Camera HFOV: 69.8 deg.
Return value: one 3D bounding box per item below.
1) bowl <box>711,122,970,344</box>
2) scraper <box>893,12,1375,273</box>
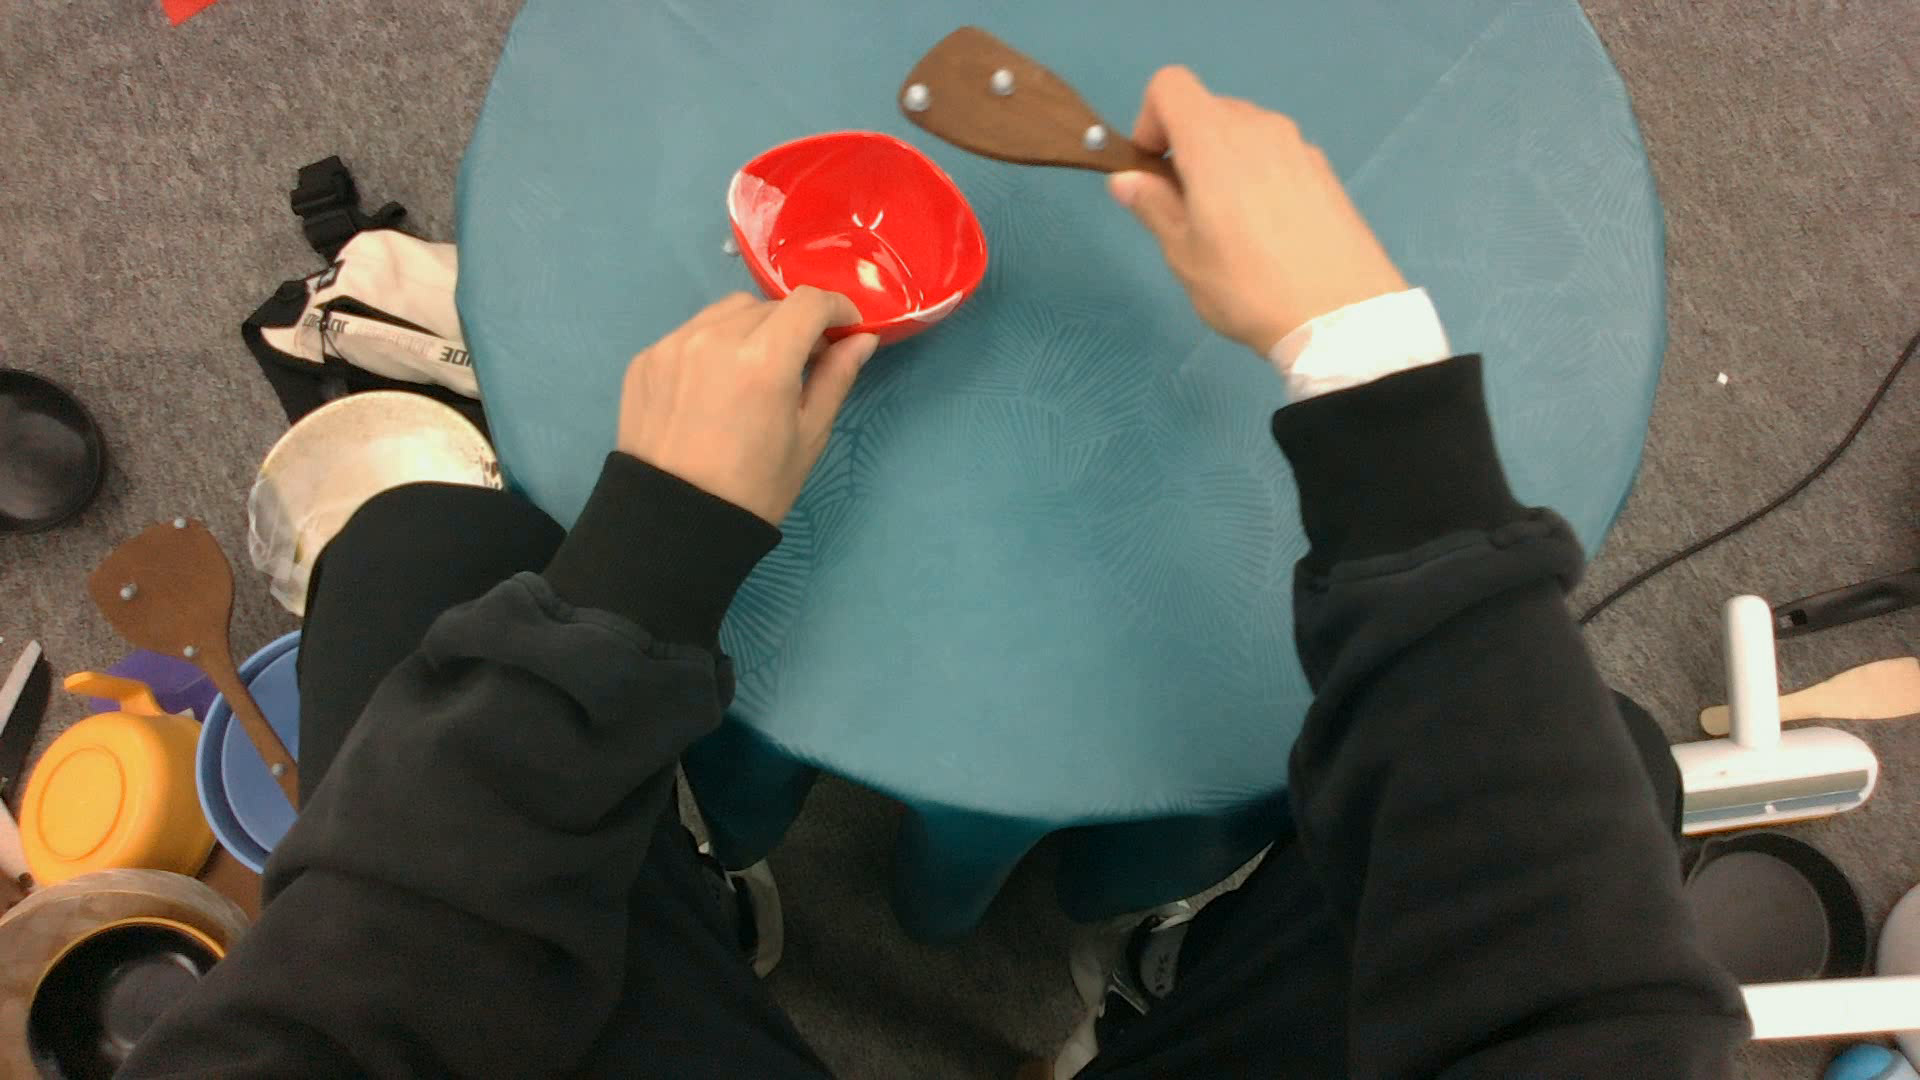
[{"bbox_3d":[-0.058,-0.134,0.637,0.119,0.051,0.119,8,58,-13],"label":"bowl"},{"bbox_3d":[0.074,-0.162,0.576,0.211,0.011,0.076,28,56,10],"label":"scraper"}]
